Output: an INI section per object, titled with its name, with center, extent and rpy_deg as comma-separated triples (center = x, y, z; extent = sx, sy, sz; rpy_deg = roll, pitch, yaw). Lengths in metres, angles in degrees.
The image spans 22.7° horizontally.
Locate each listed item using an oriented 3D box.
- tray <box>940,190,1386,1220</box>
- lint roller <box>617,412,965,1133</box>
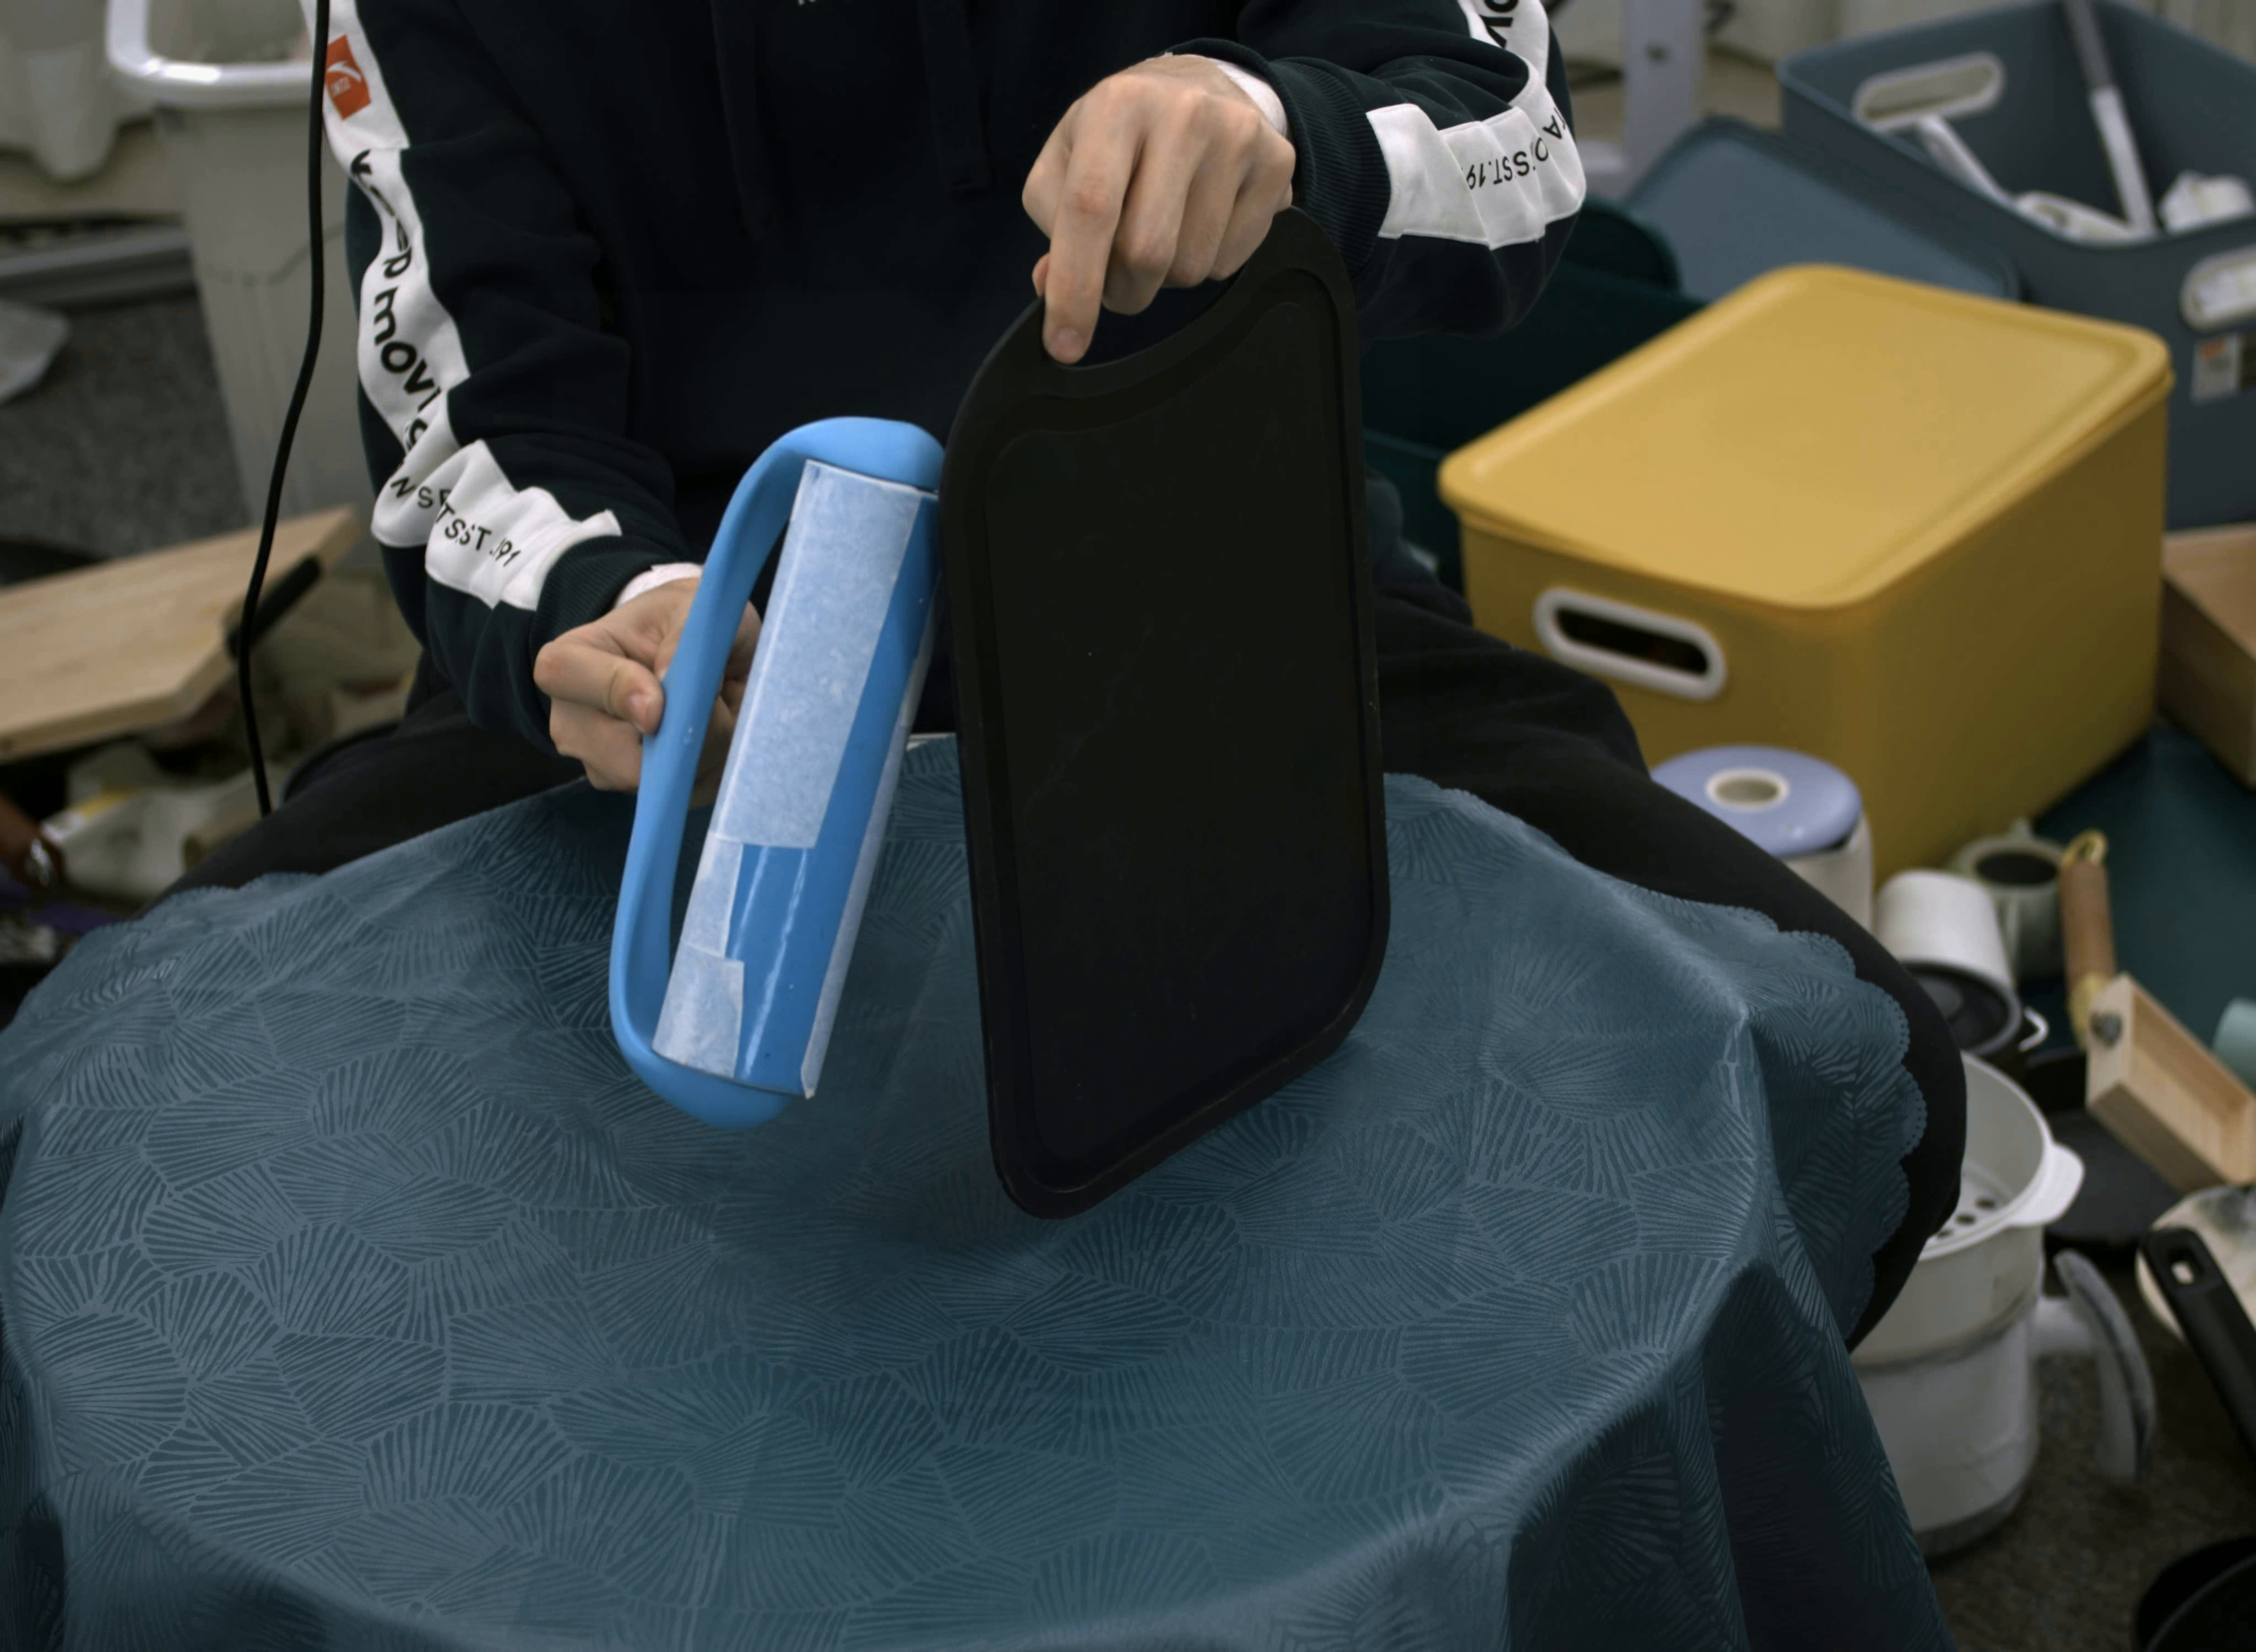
[tray]
center = 0.016, -0.043, 1.822
extent = 0.010, 0.322, 0.214
rpy_deg = 14, 29, 37
[lint roller]
center = -0.123, -0.024, 1.809
extent = 0.068, 0.230, 0.180
rpy_deg = 12, 1, -25
